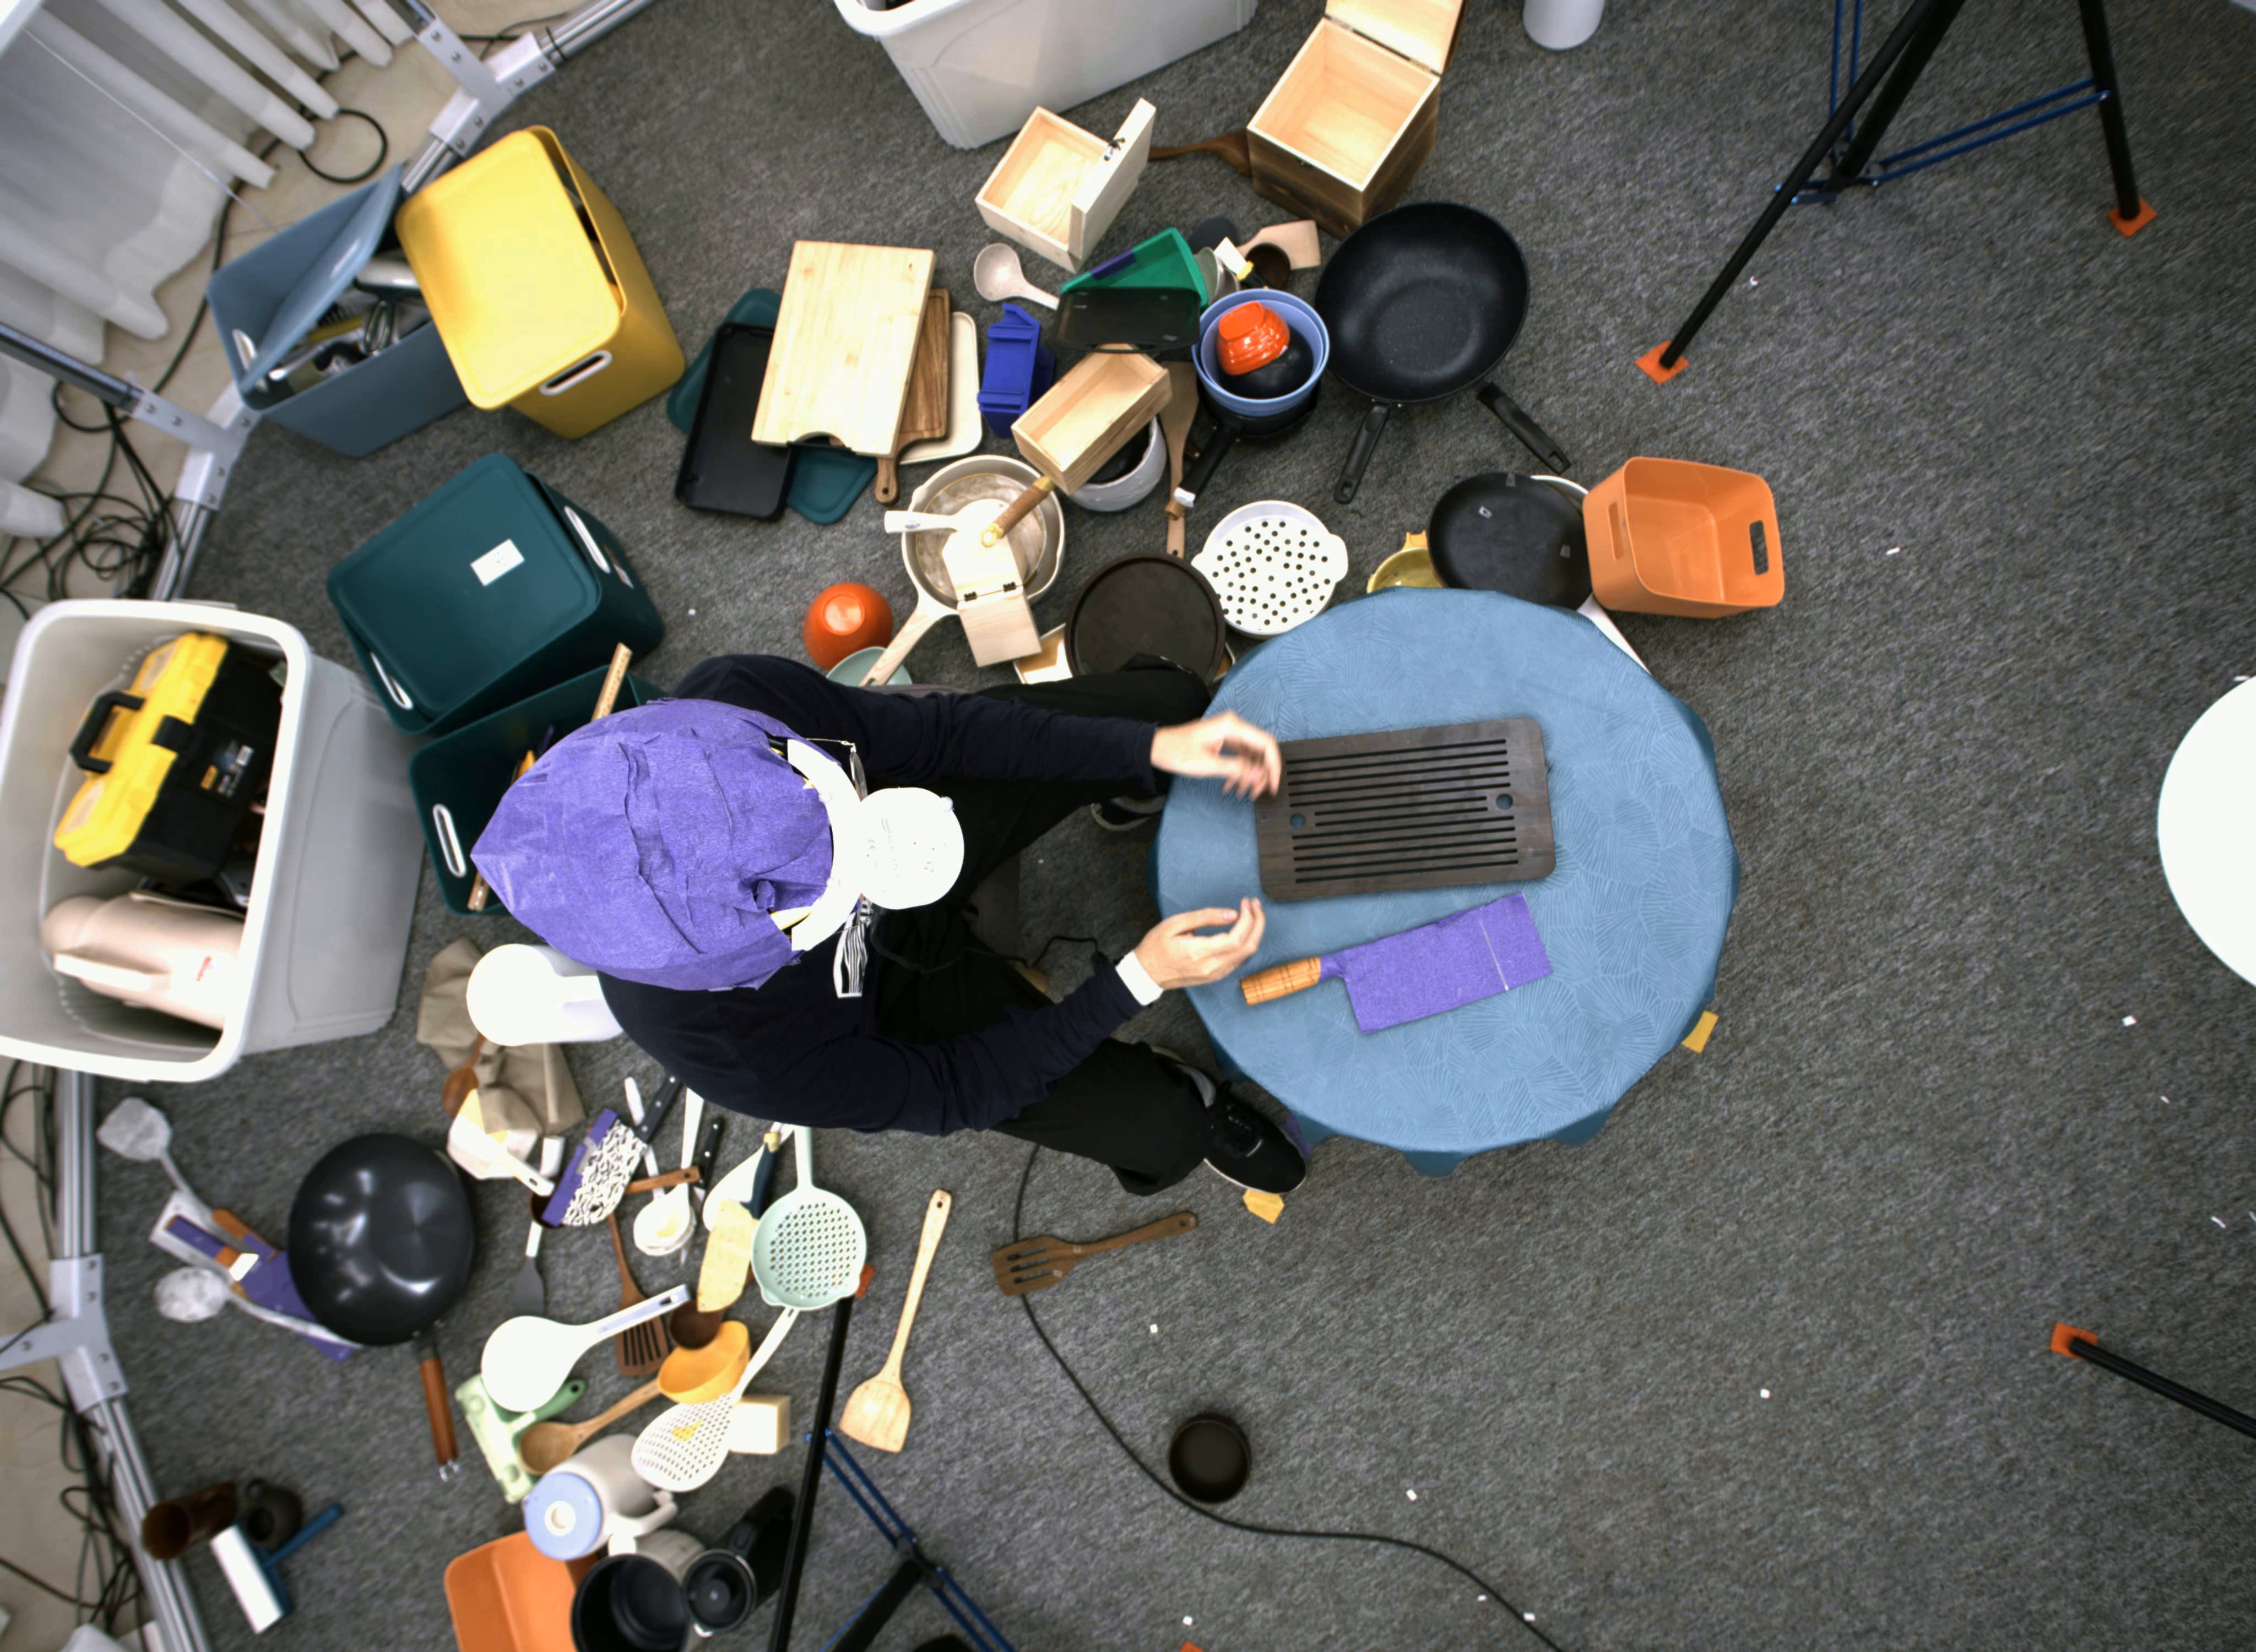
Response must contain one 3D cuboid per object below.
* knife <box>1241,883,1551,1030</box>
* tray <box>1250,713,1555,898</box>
[{"bbox_3d":[0.280,0.155,1.440,0.317,0.032,0.103,-20,83,9],"label":"knife"},{"bbox_3d":[0.286,-0.022,1.453,0.307,0.018,0.169,-6,86,11],"label":"tray"}]
